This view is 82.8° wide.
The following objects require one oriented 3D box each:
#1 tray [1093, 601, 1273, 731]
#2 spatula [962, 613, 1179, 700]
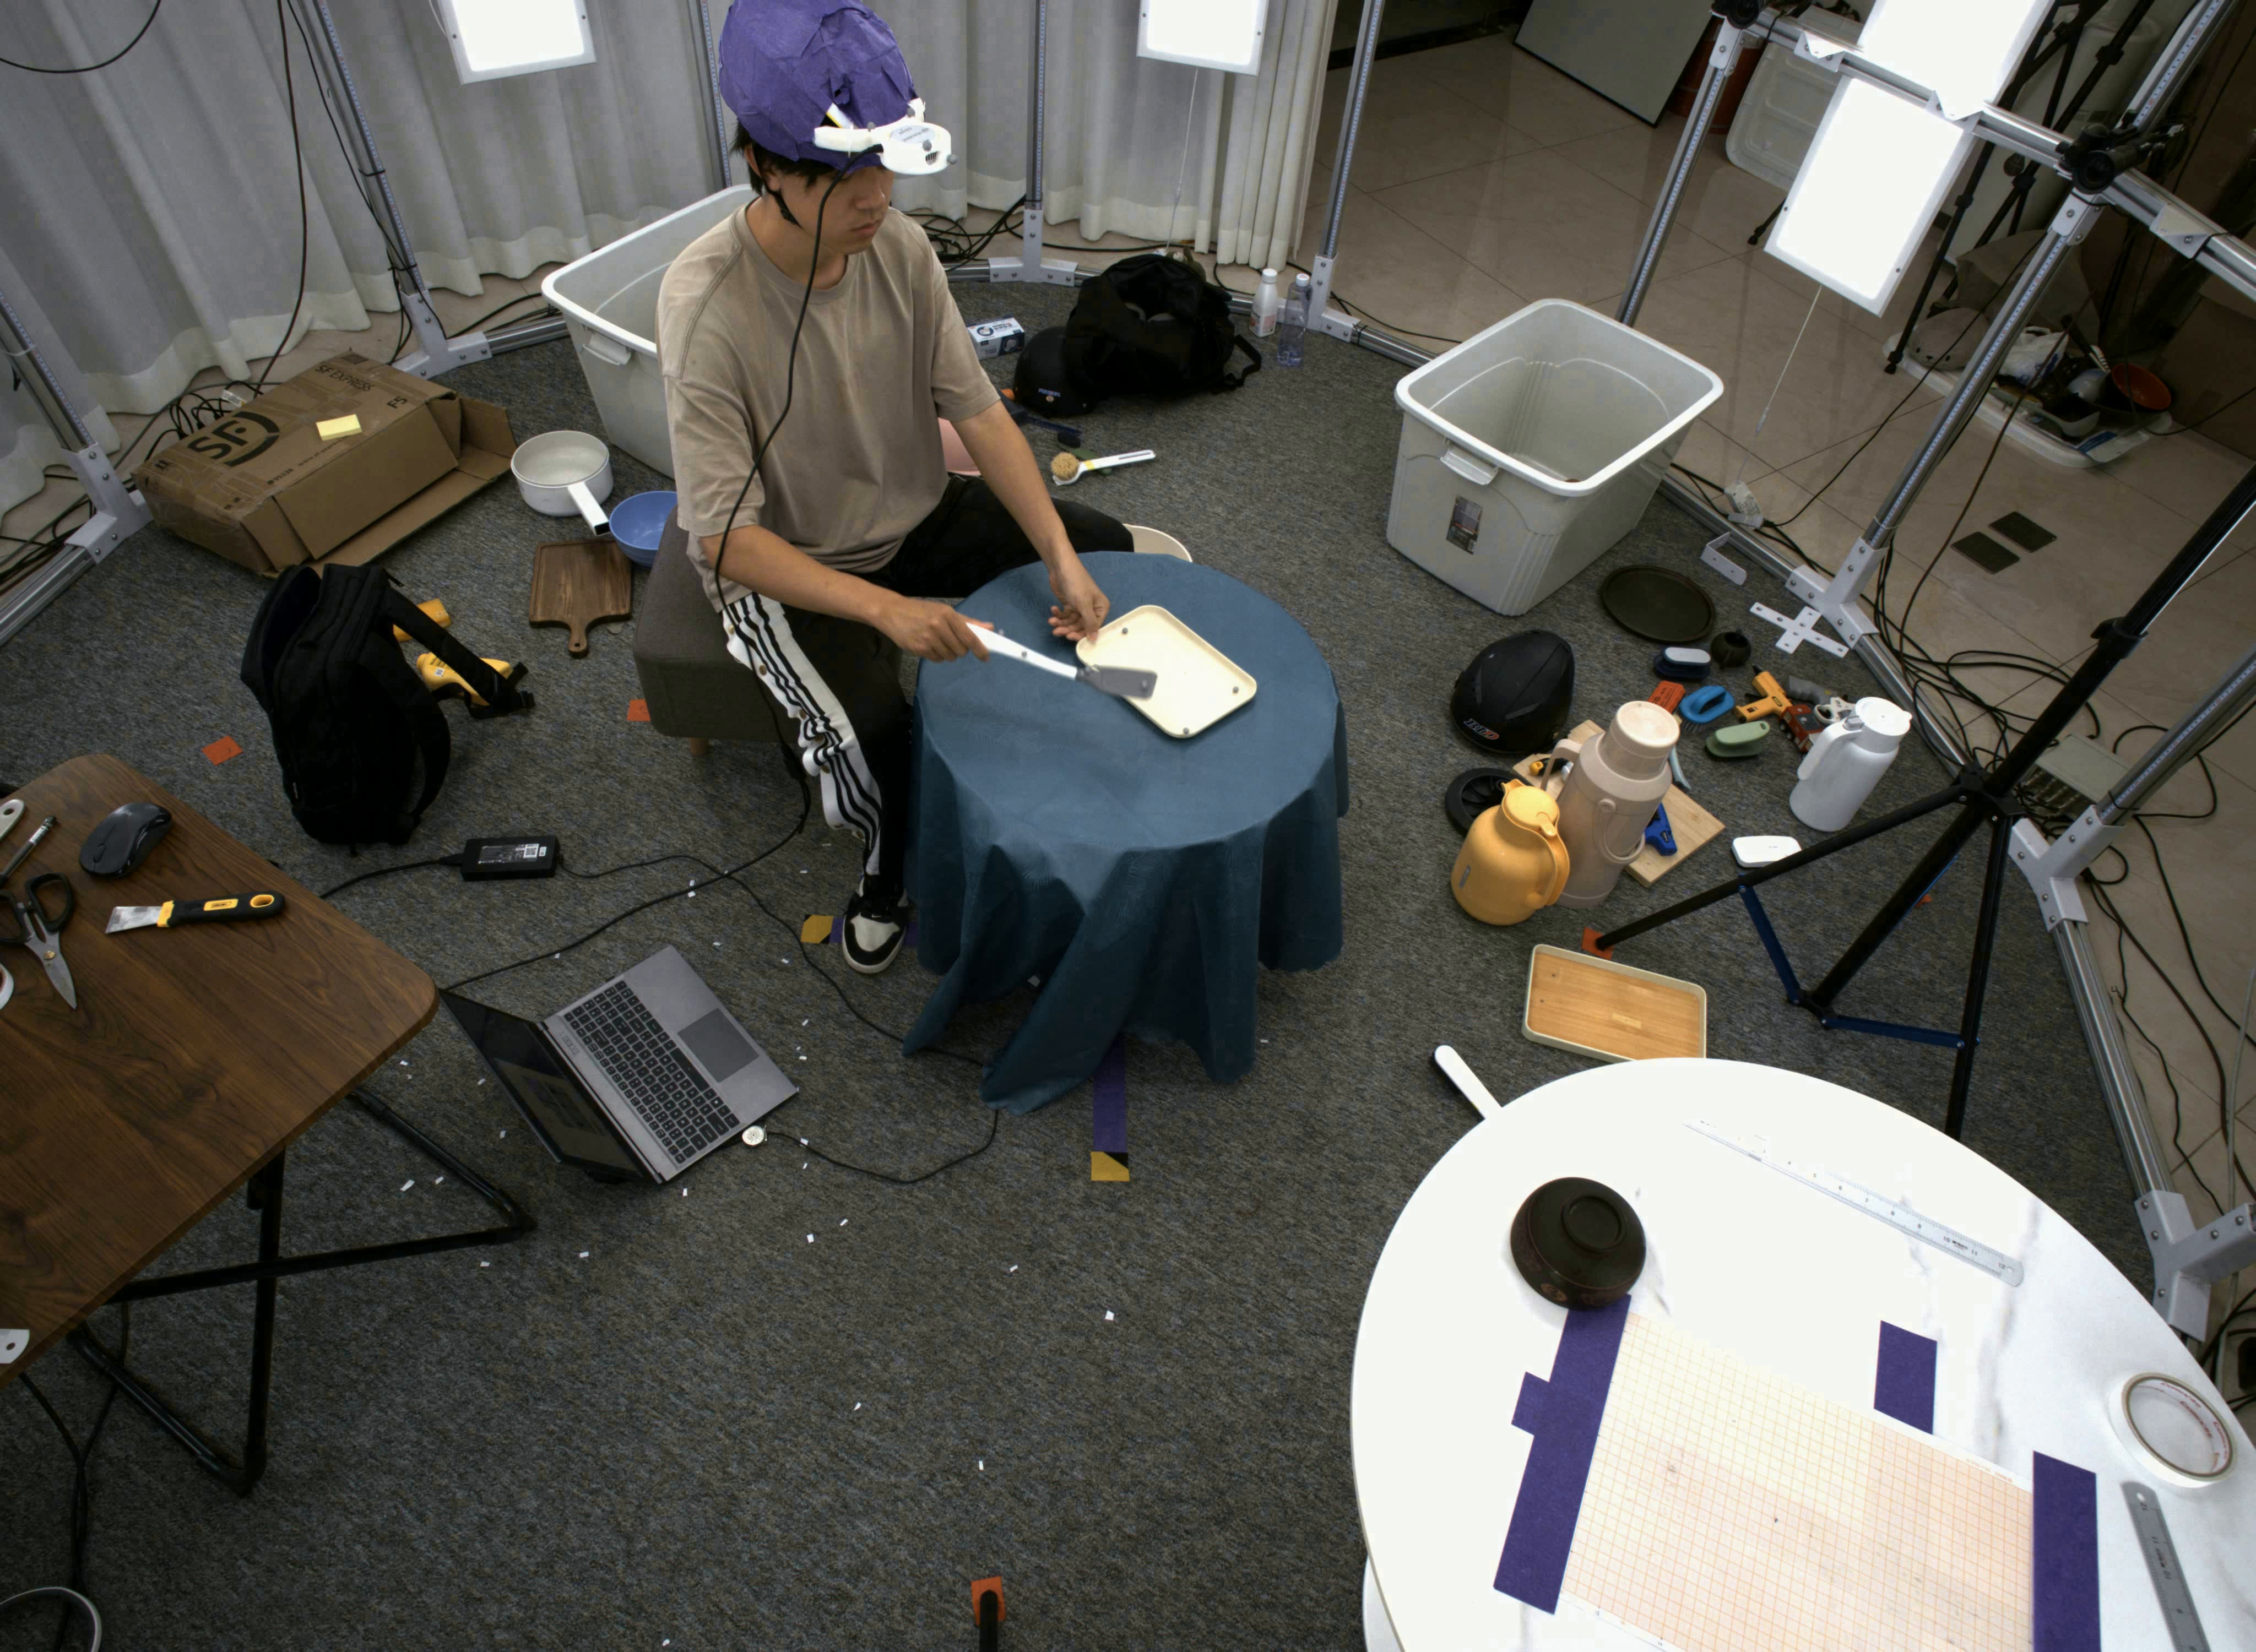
[{"bbox_3d":[0.077,-0.232,1.851,0.172,0.017,0.243,-32,58,-30],"label":"tray"},{"bbox_3d":[-0.075,-0.221,1.683,0.287,0.031,0.060,18,48,1],"label":"spatula"}]
